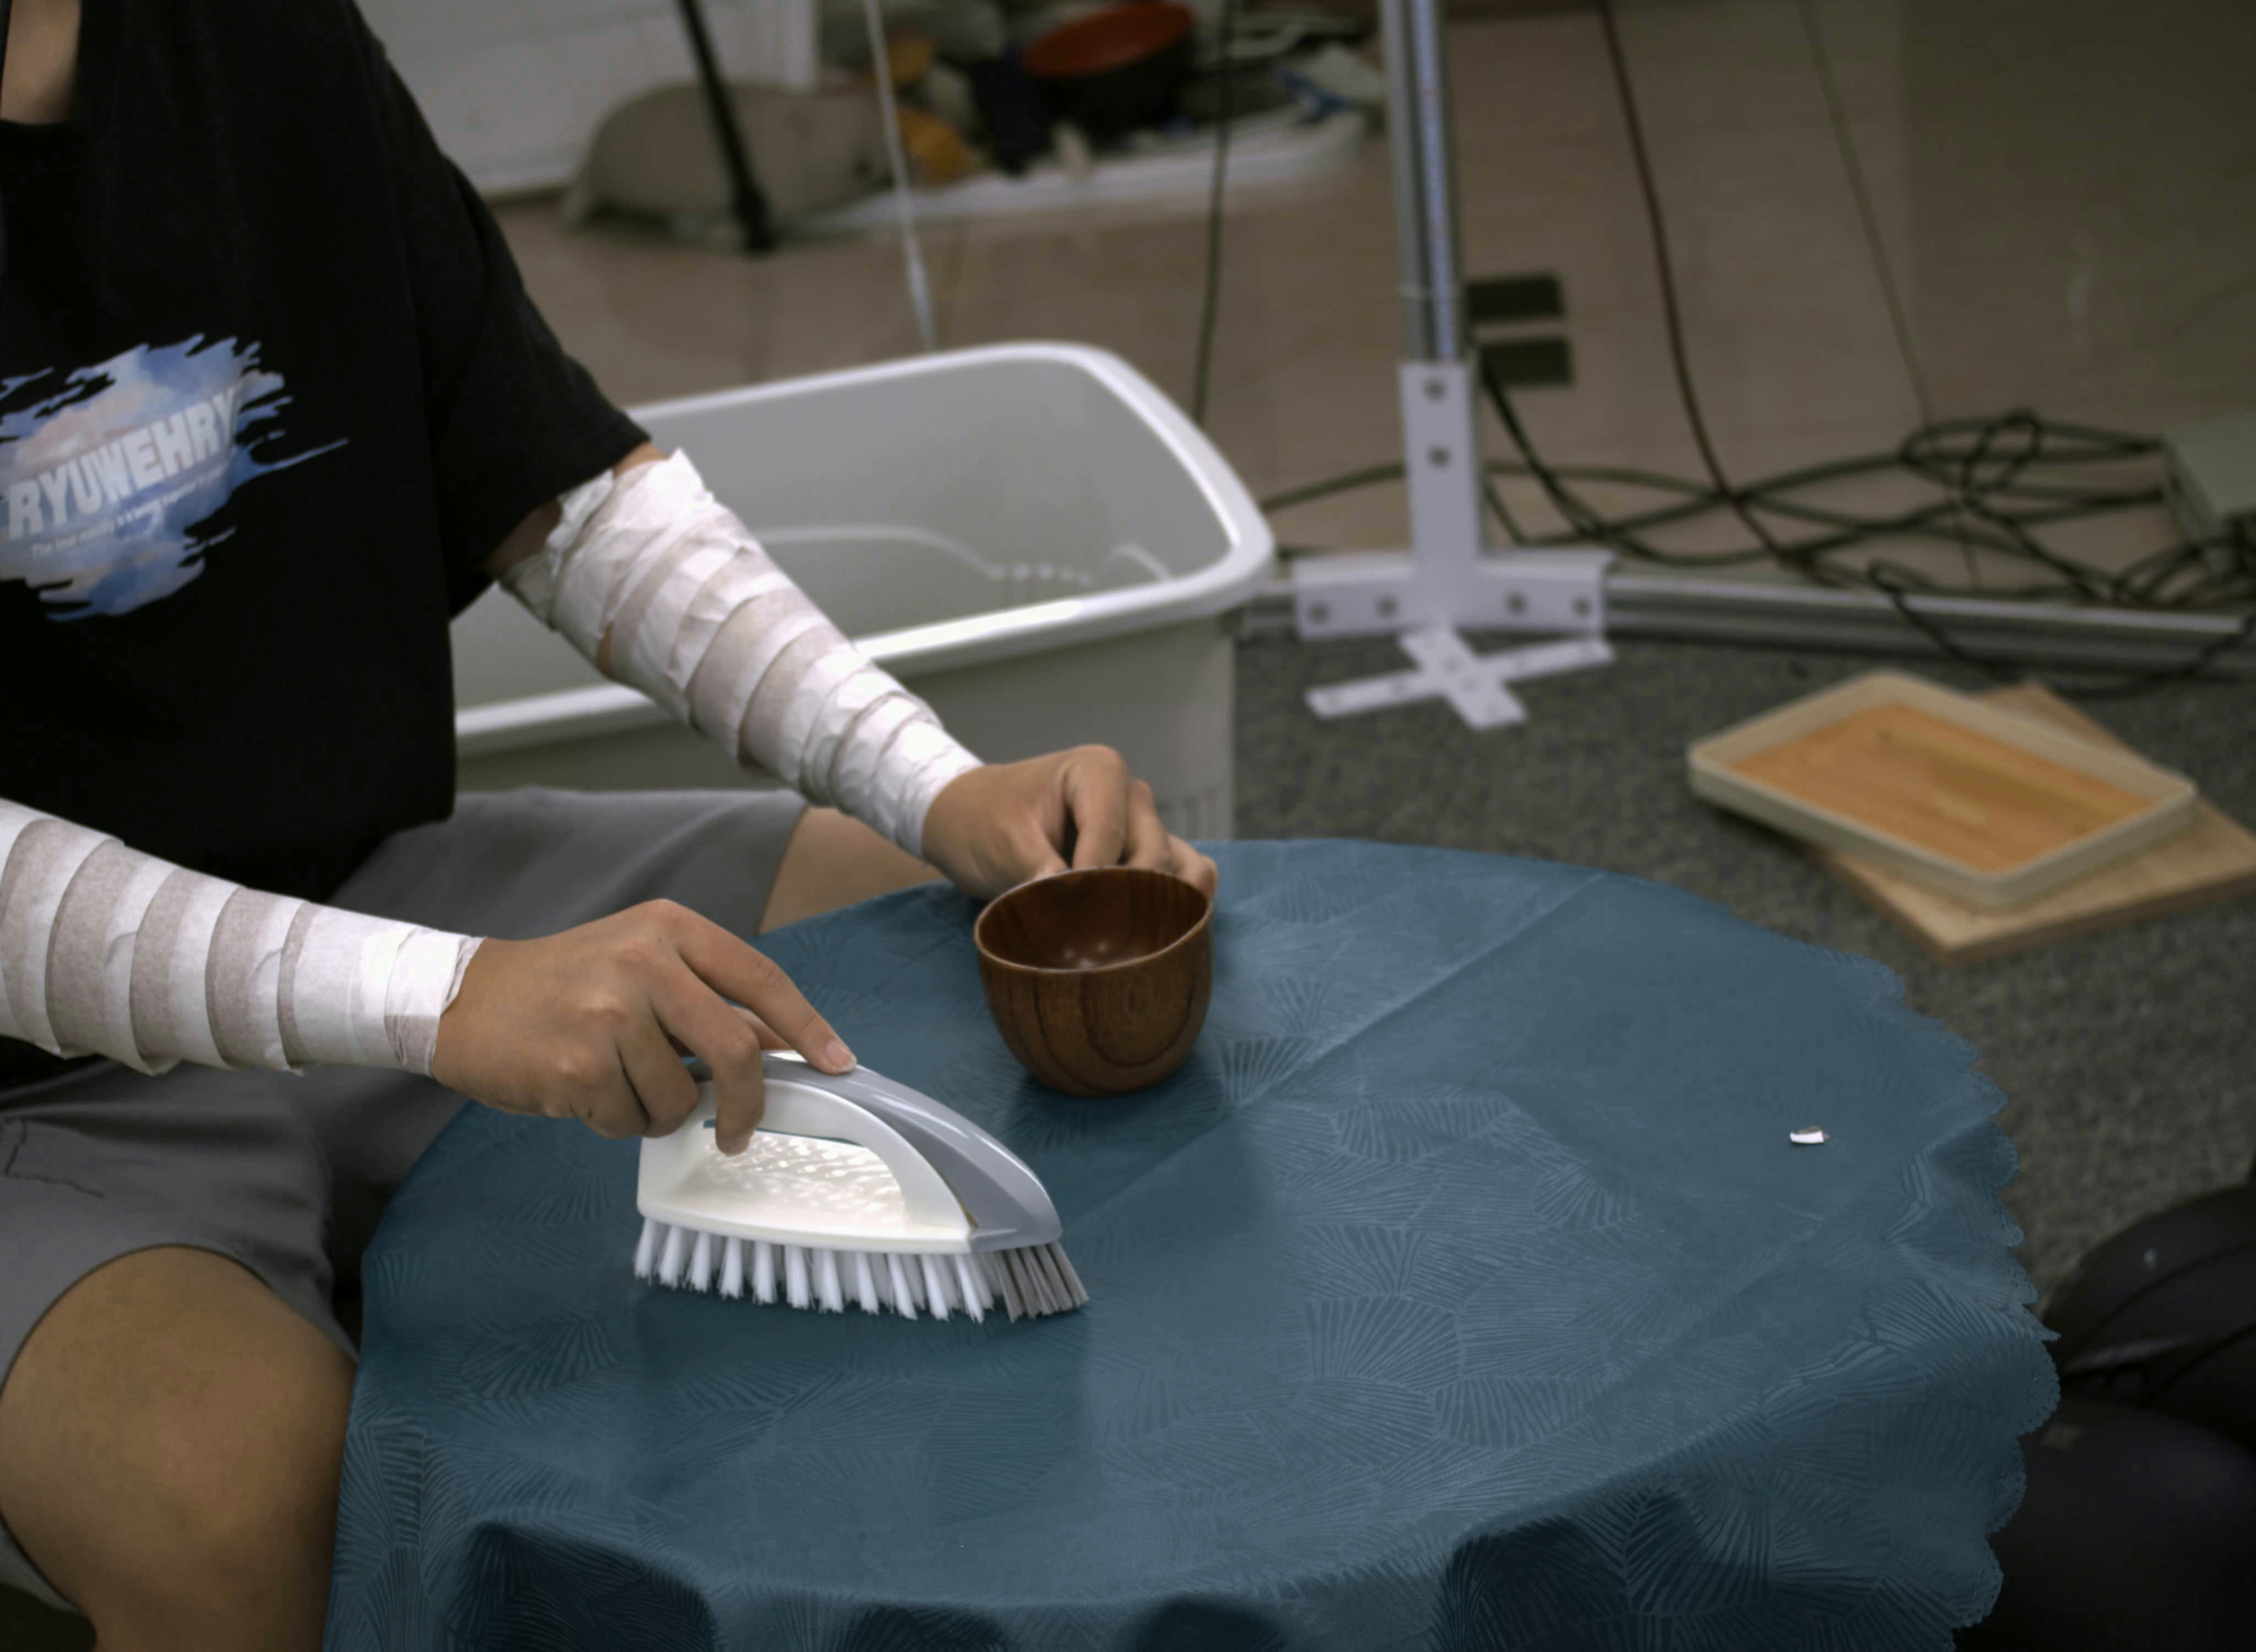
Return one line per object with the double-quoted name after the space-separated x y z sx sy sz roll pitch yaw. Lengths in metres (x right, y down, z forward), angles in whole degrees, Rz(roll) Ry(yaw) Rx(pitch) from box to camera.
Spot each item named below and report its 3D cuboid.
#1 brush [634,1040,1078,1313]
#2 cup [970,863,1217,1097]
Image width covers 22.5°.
-0.101 0.125 2.084 0.175 0.096 0.060 11 37 22 "brush"
-0.012 0.059 2.244 0.096 0.069 0.118 -13 24 -8 "cup"
